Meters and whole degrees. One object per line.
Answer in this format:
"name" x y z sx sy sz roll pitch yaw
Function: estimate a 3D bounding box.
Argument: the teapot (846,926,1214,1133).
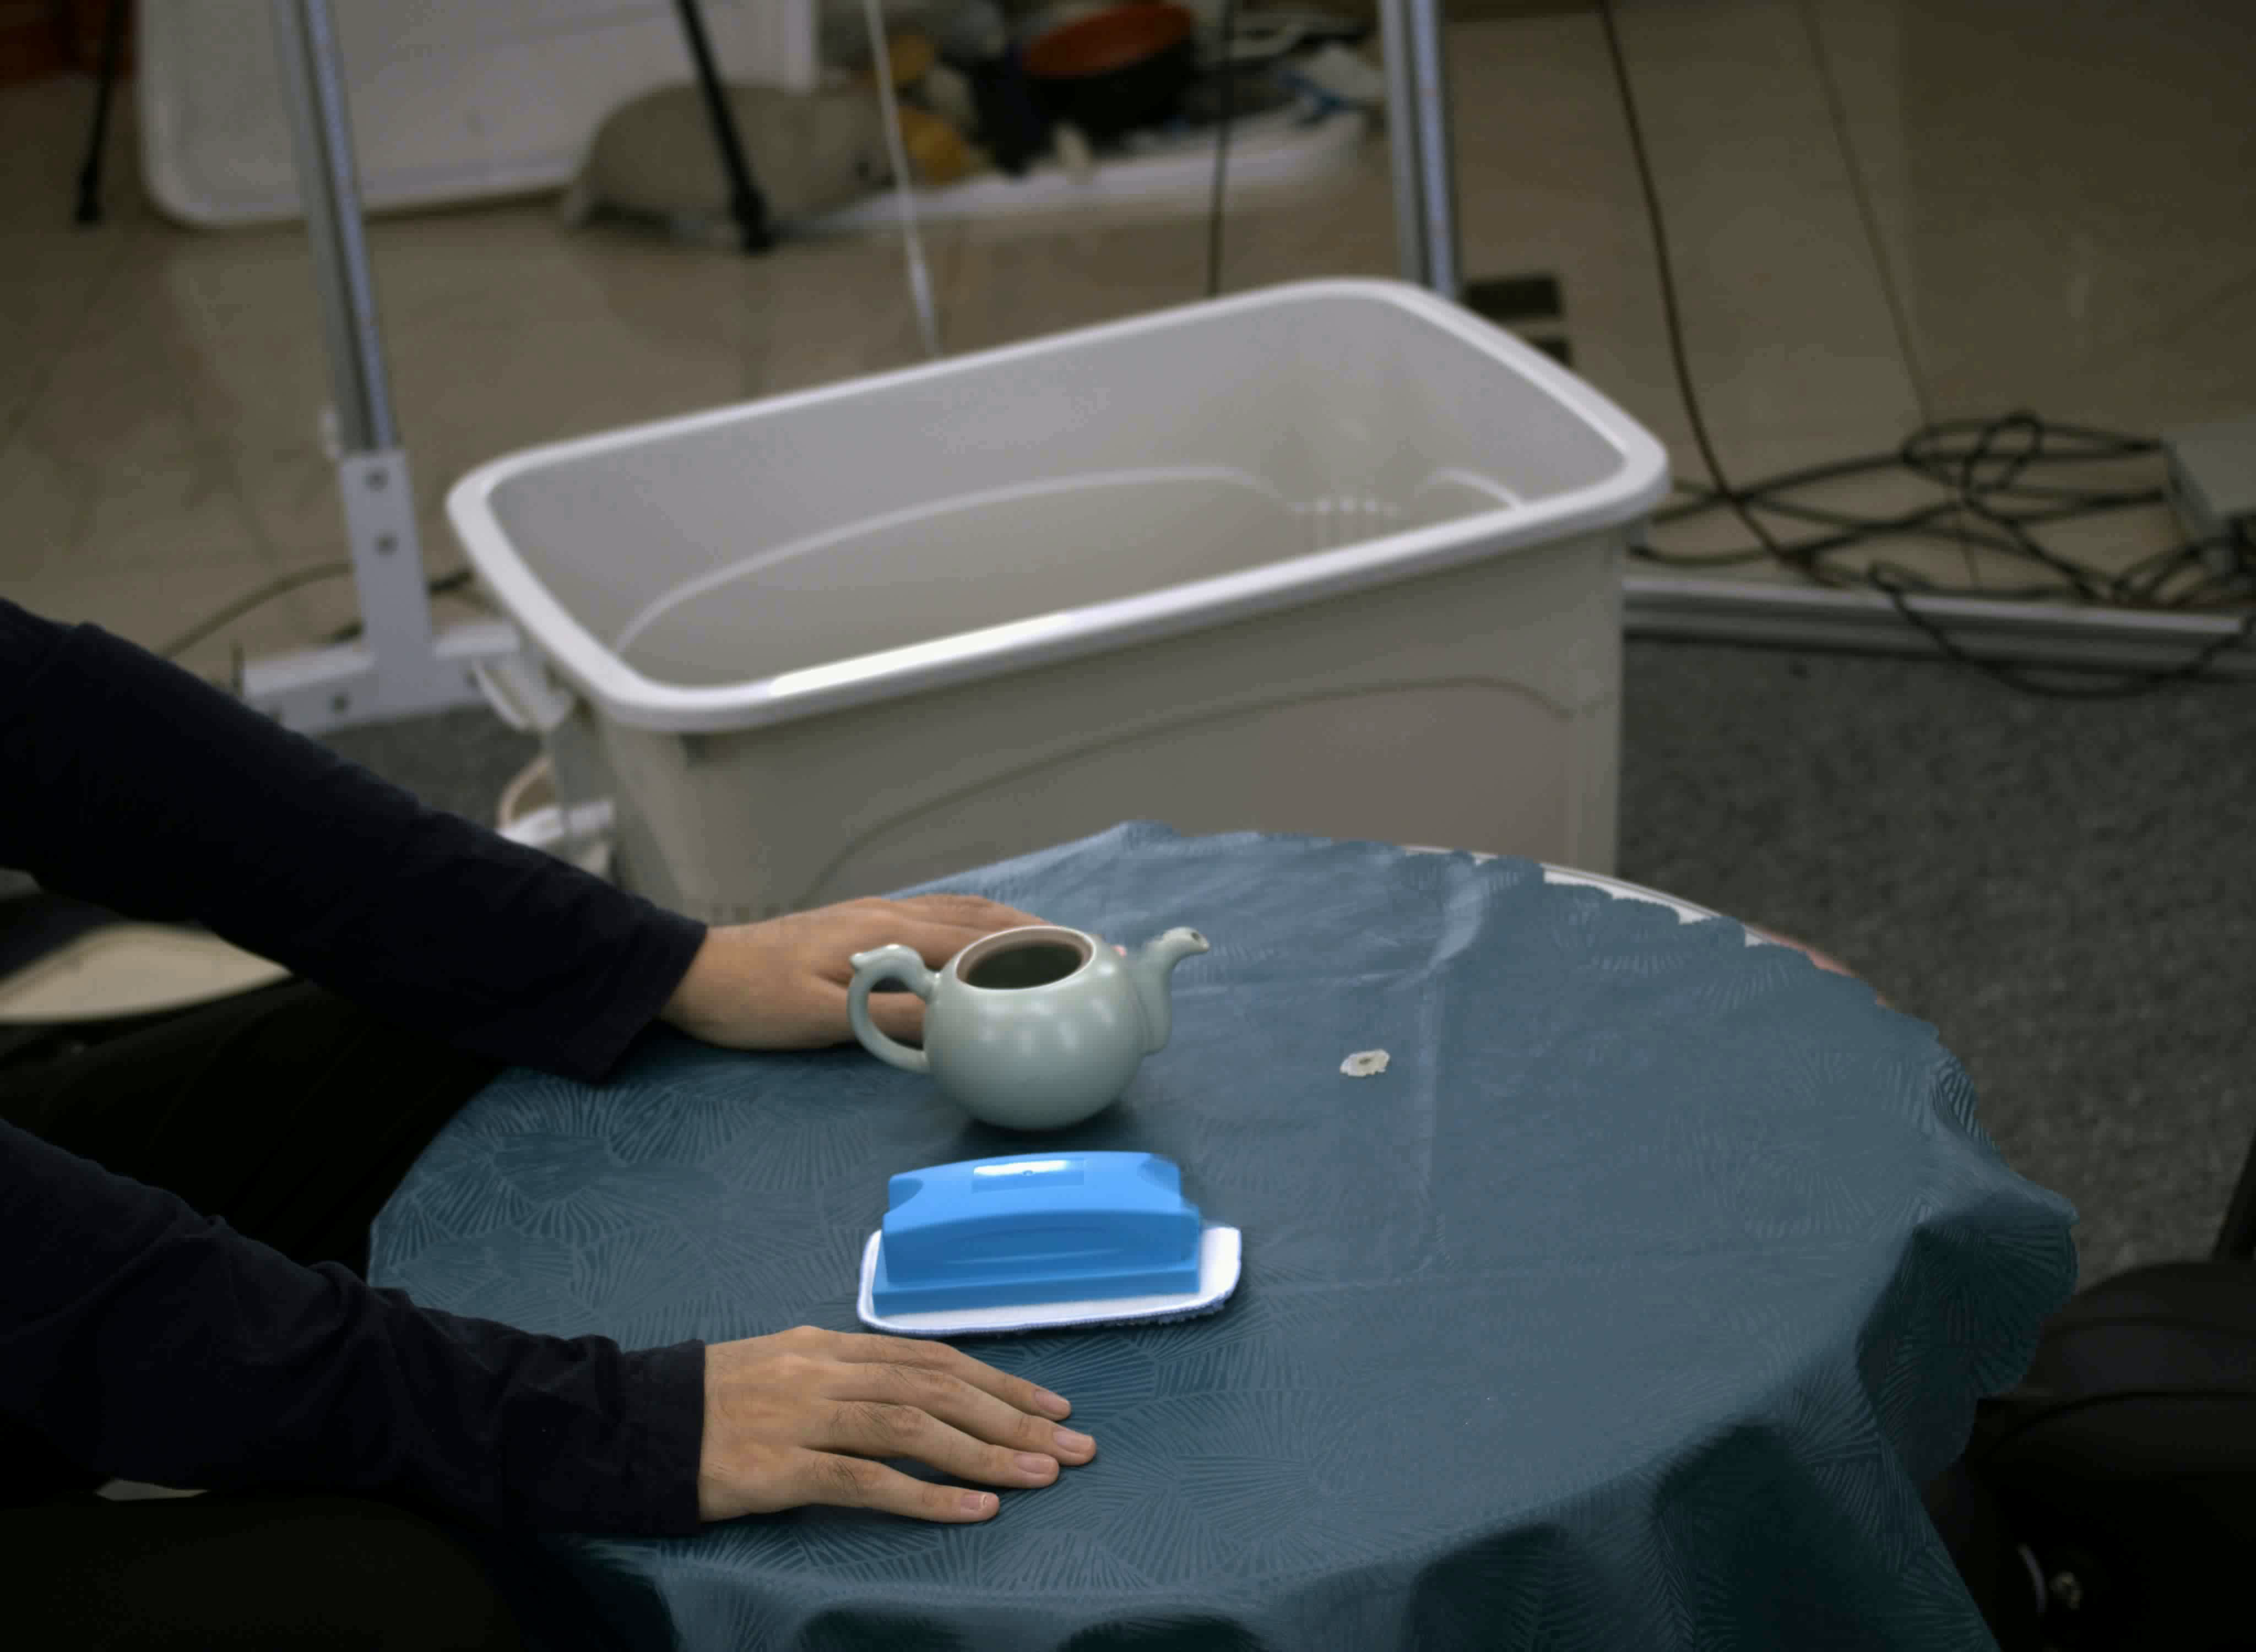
"teapot" -0.037 0.077 2.202 0.143 0.076 0.087 -1 26 5

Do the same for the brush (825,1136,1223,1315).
"brush" -0.038 0.144 2.073 0.144 0.057 0.083 -1 22 5
